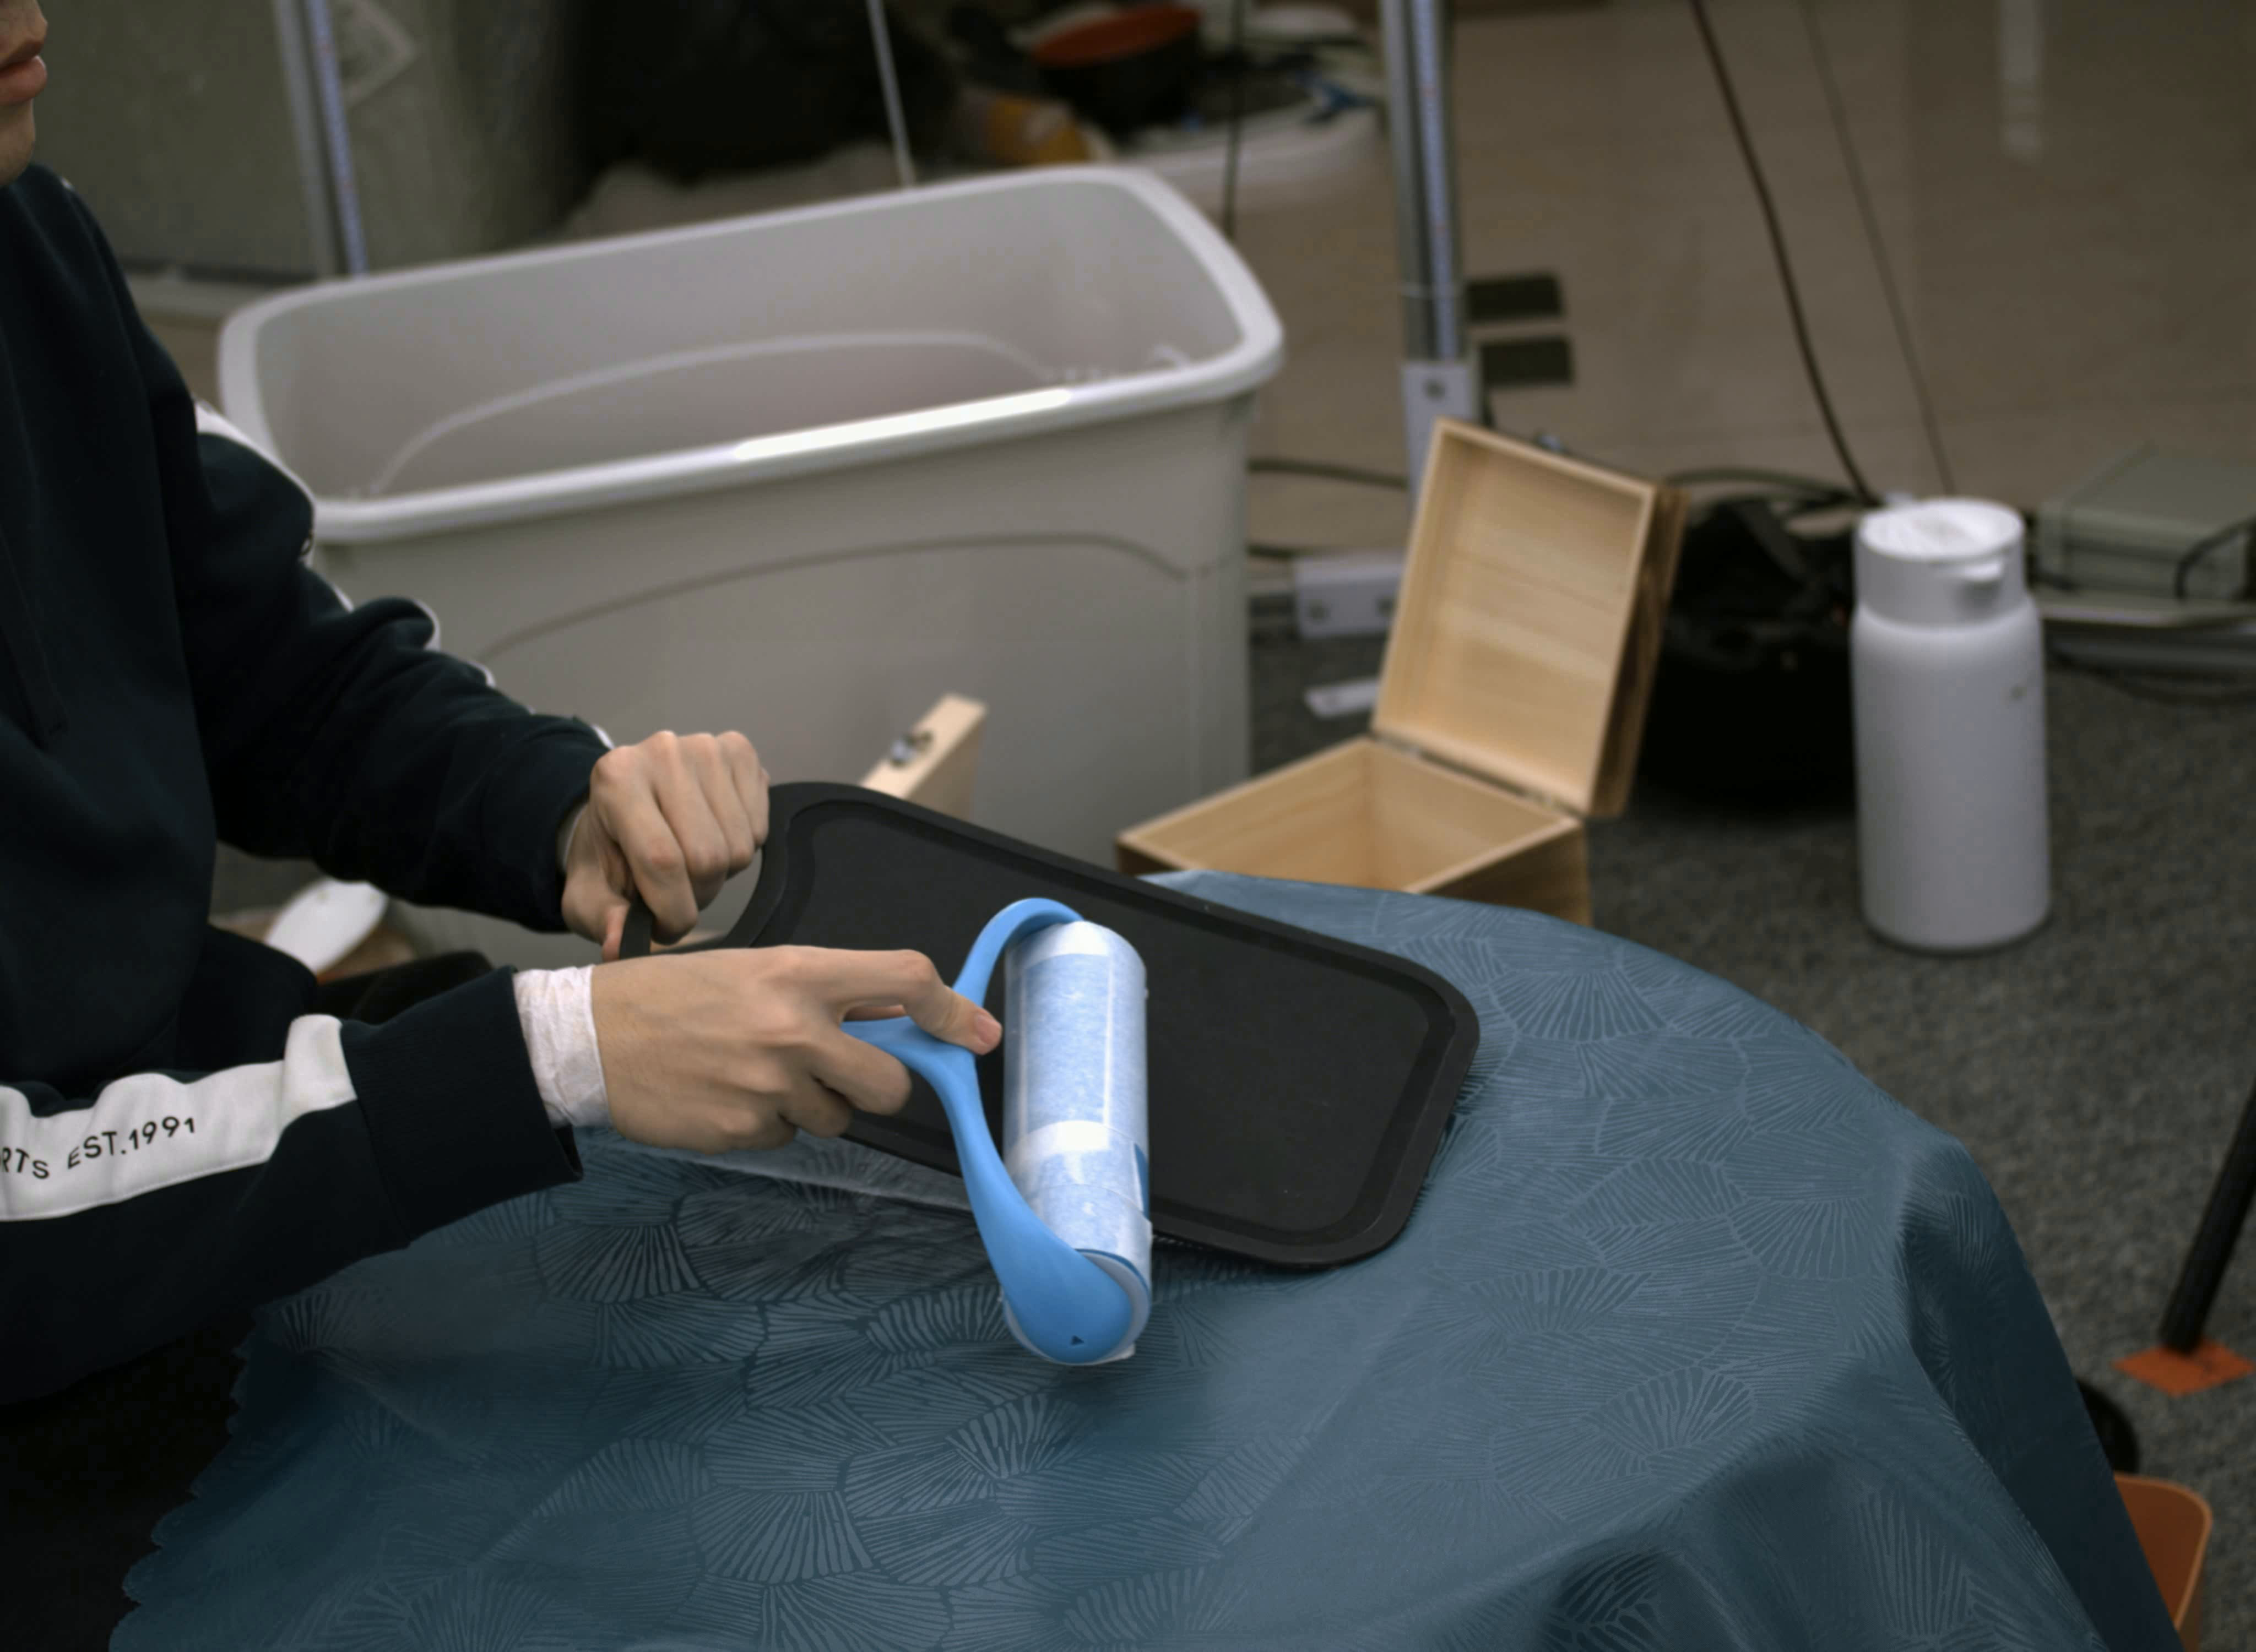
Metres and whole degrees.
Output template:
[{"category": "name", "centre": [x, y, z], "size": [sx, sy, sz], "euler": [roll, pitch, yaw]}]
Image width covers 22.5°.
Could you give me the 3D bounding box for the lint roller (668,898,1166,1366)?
[{"category": "lint roller", "centre": [-0.073, 0.102, 2.060], "size": [0.180, 0.069, 0.225], "euler": [11, 37, -12]}]

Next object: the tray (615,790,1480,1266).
[{"category": "tray", "centre": [-0.035, 0.071, 2.166], "size": [0.324, 0.010, 0.208], "euler": [17, 35, 7]}]
